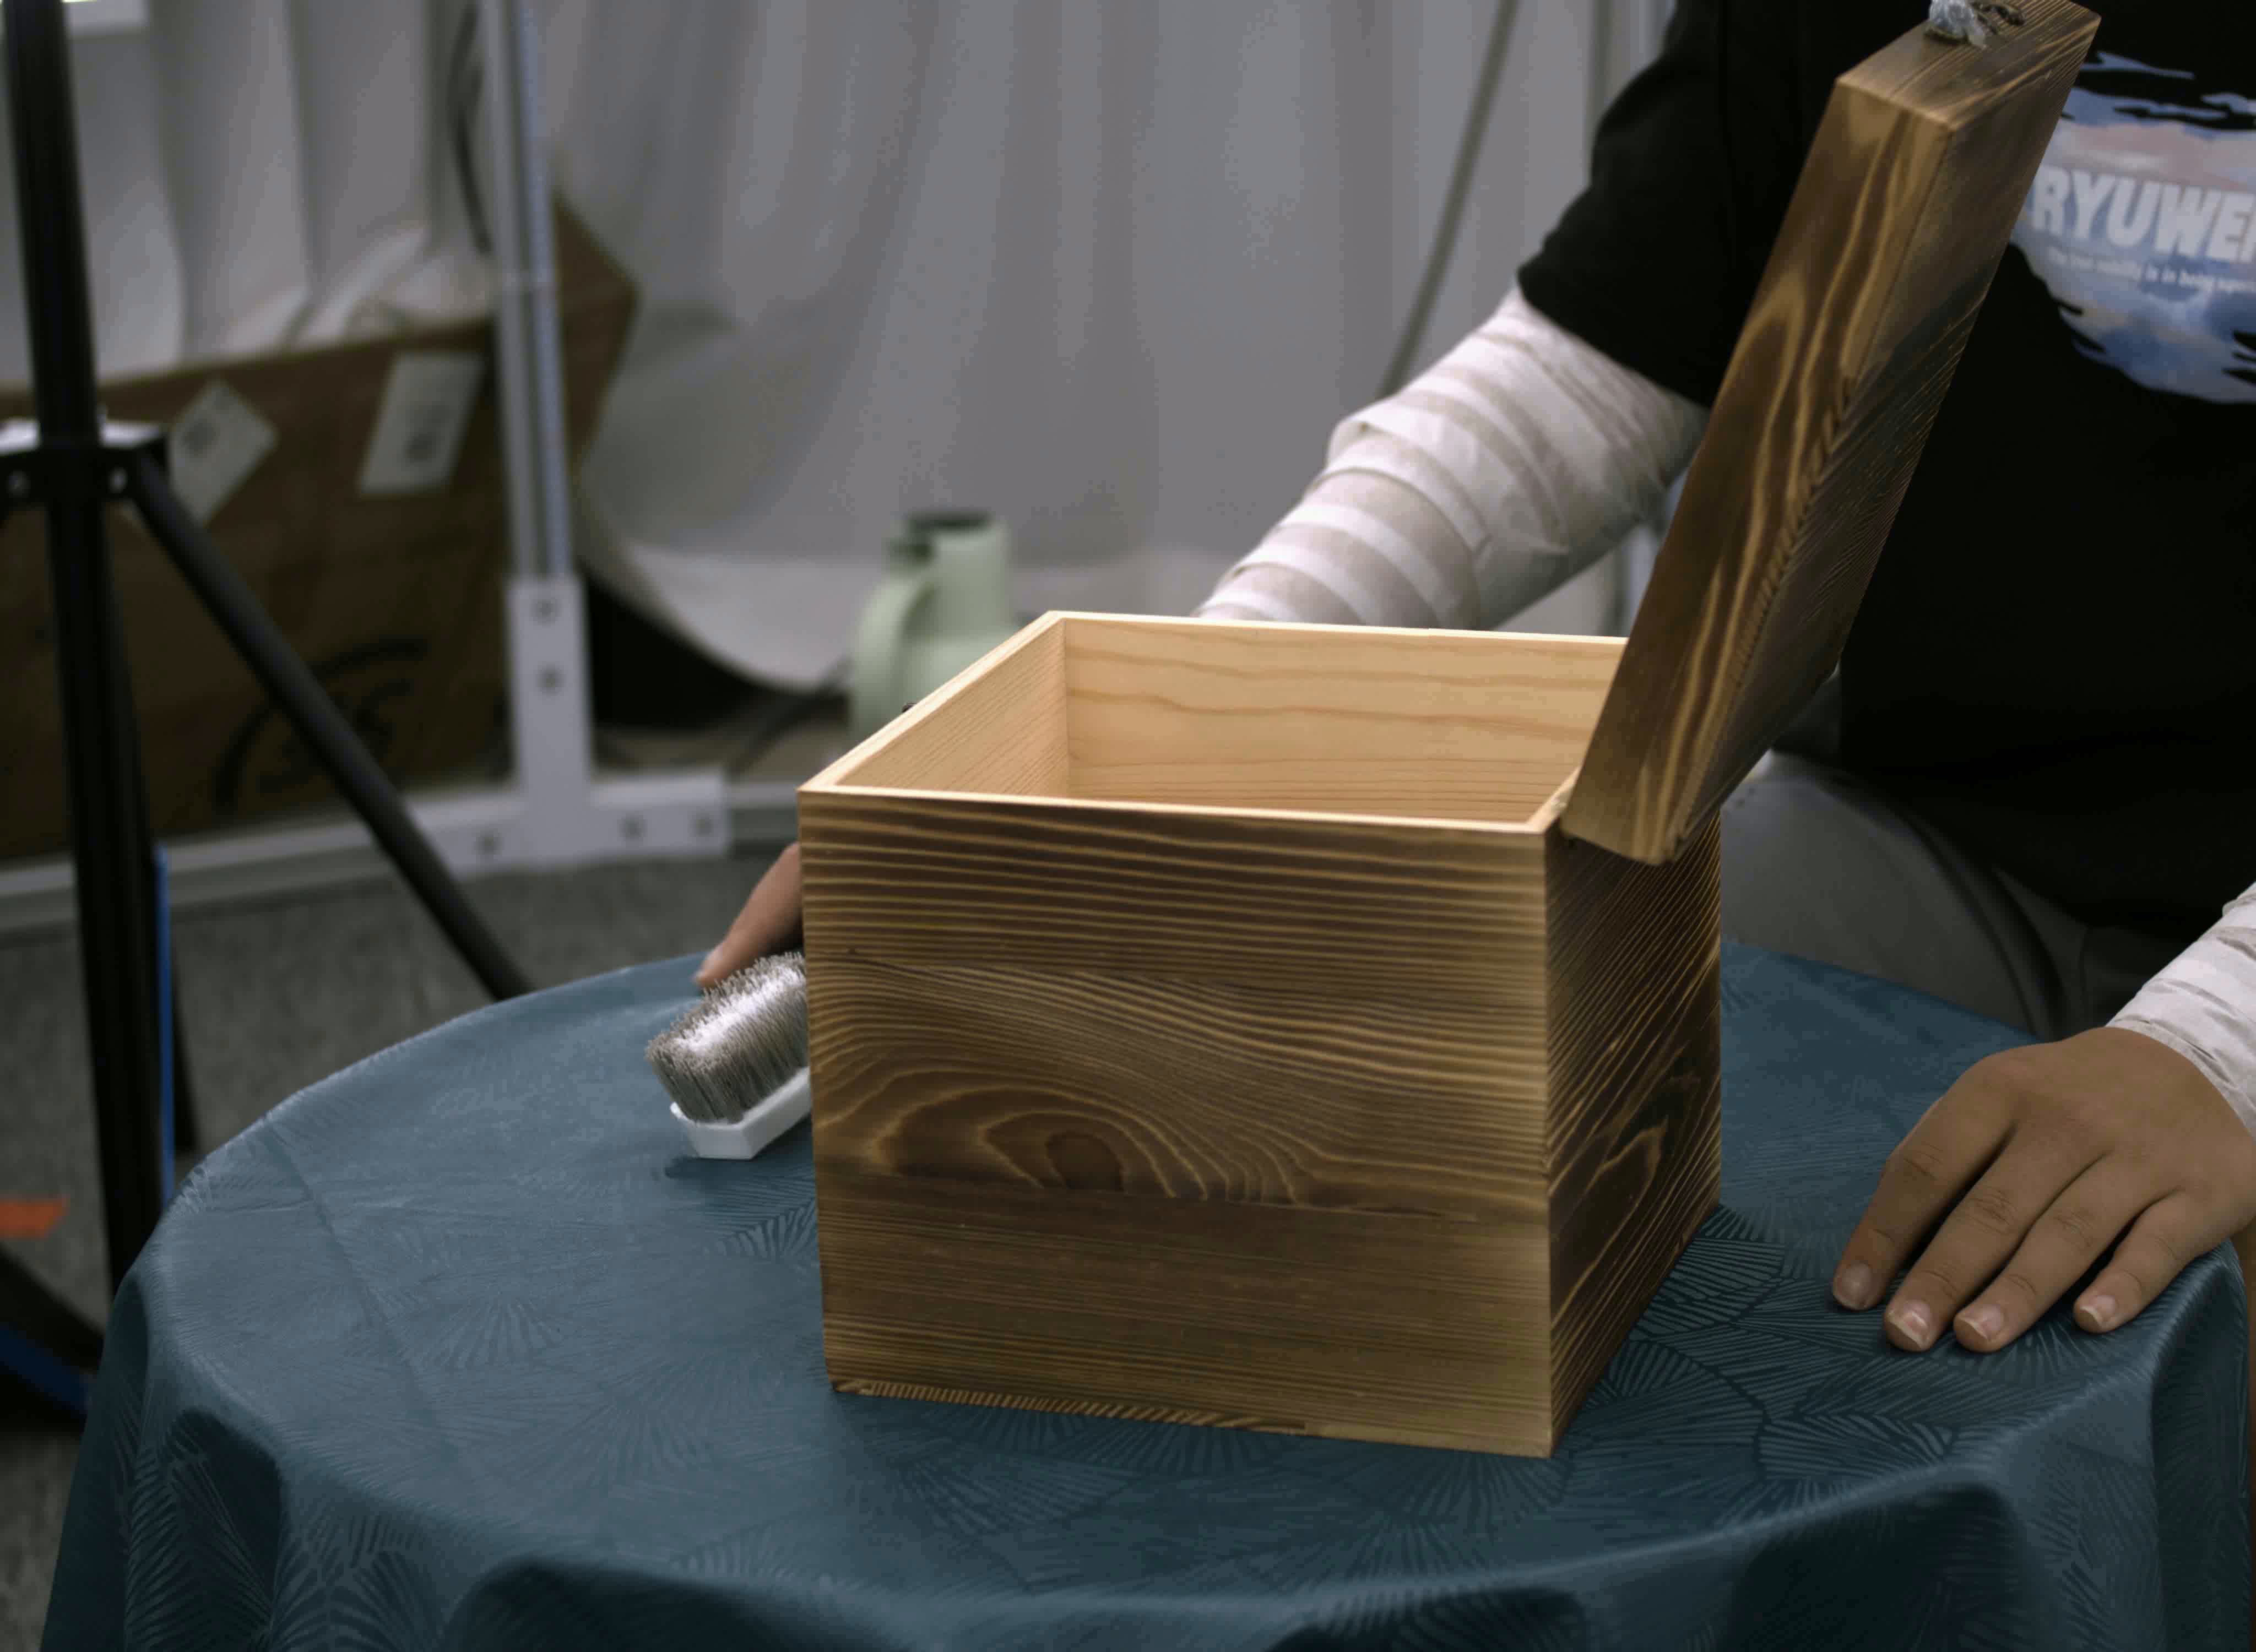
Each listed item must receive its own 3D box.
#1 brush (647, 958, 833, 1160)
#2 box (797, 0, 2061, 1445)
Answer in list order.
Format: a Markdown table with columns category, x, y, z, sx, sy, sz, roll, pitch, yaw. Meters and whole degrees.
| category | x | y | z | sx | sy | sz | roll | pitch | yaw |
| --- | --- | --- | --- | --- | --- | --- | --- | --- | --- |
| brush | -0.053 | 0.052 | 1.677 | 0.035 | 0.050 | 0.238 | 13 | 22 | 43 |
| box | 0.090 | -0.043 | 1.412 | 0.326 | 0.375 | 0.206 | 3 | 14 | 20 |
